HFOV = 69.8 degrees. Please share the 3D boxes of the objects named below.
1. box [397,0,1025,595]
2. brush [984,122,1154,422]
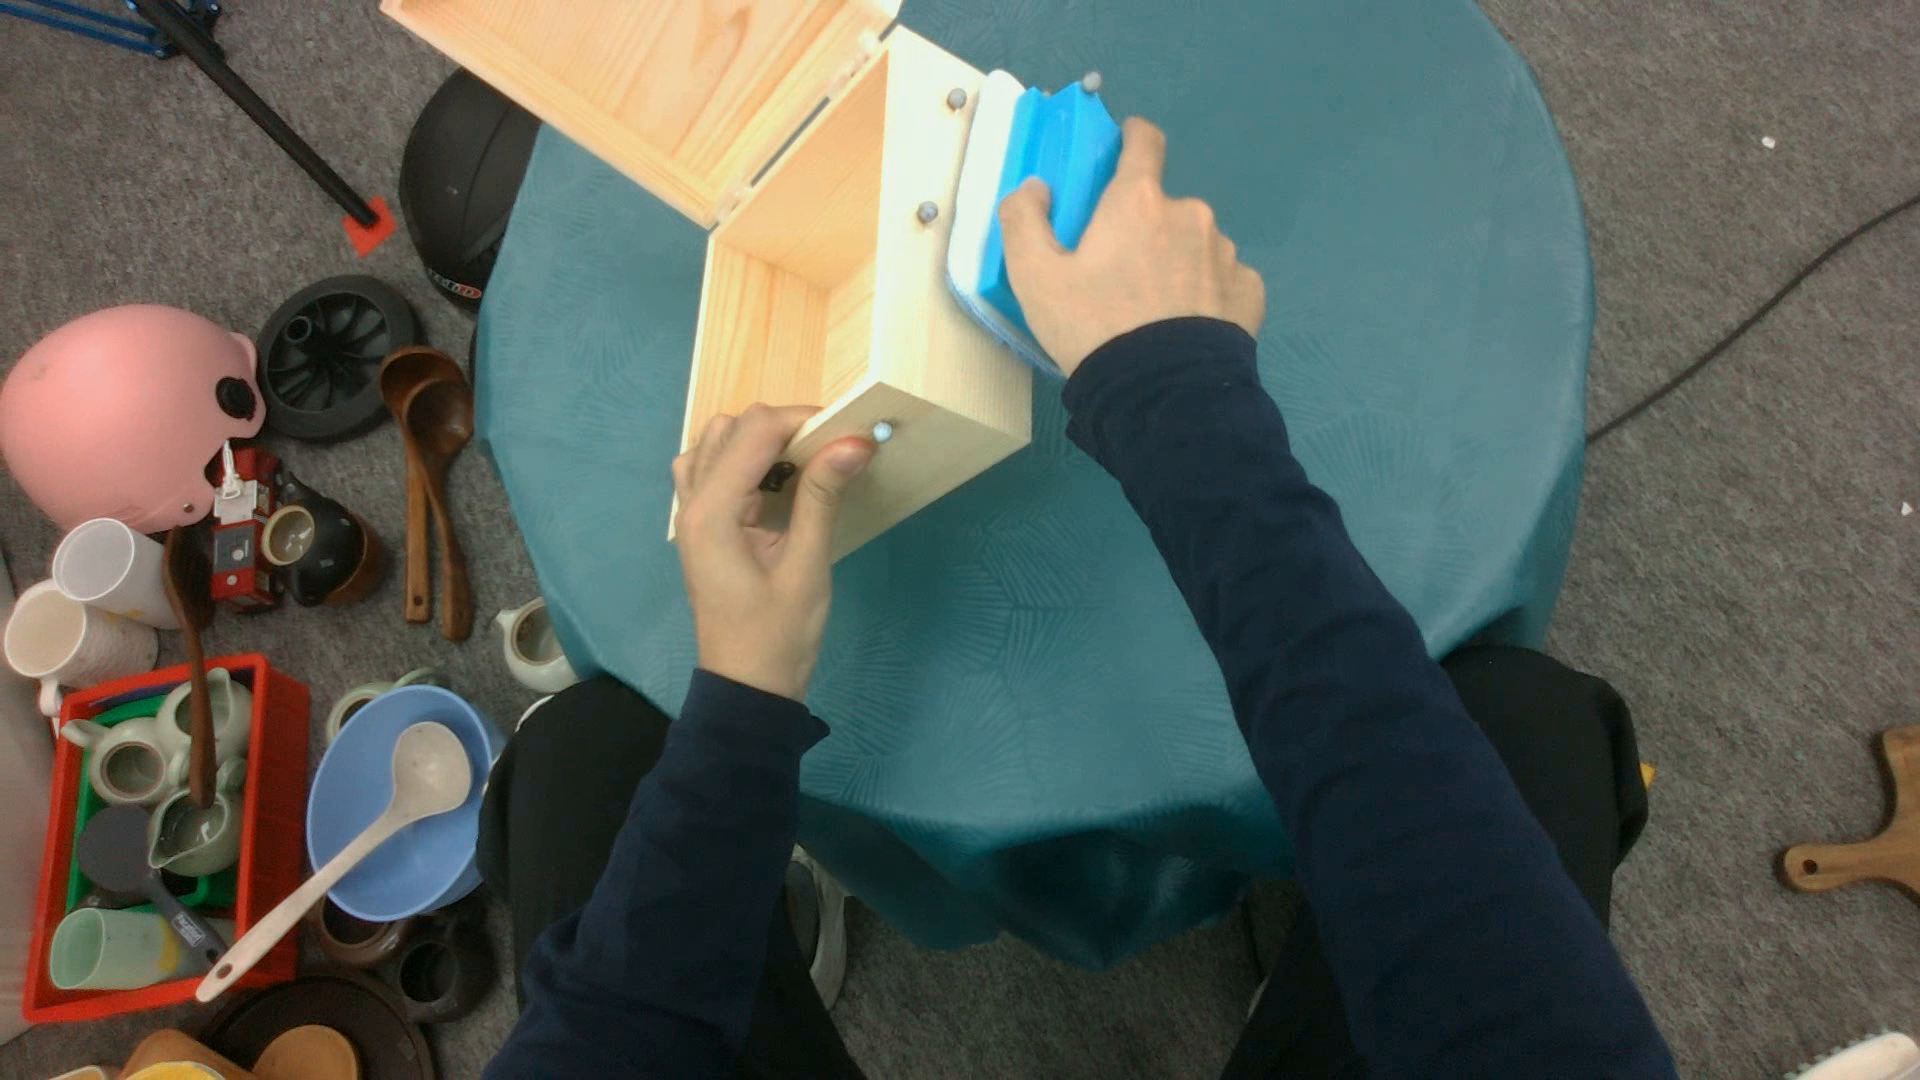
[{"bbox_3d":[-0.125,-0.150,0.621,0.181,0.253,0.266,-32,47,45],"label":"box"},{"bbox_3d":[0.056,-0.125,0.605,0.084,0.055,0.144,17,55,-26],"label":"brush"}]
